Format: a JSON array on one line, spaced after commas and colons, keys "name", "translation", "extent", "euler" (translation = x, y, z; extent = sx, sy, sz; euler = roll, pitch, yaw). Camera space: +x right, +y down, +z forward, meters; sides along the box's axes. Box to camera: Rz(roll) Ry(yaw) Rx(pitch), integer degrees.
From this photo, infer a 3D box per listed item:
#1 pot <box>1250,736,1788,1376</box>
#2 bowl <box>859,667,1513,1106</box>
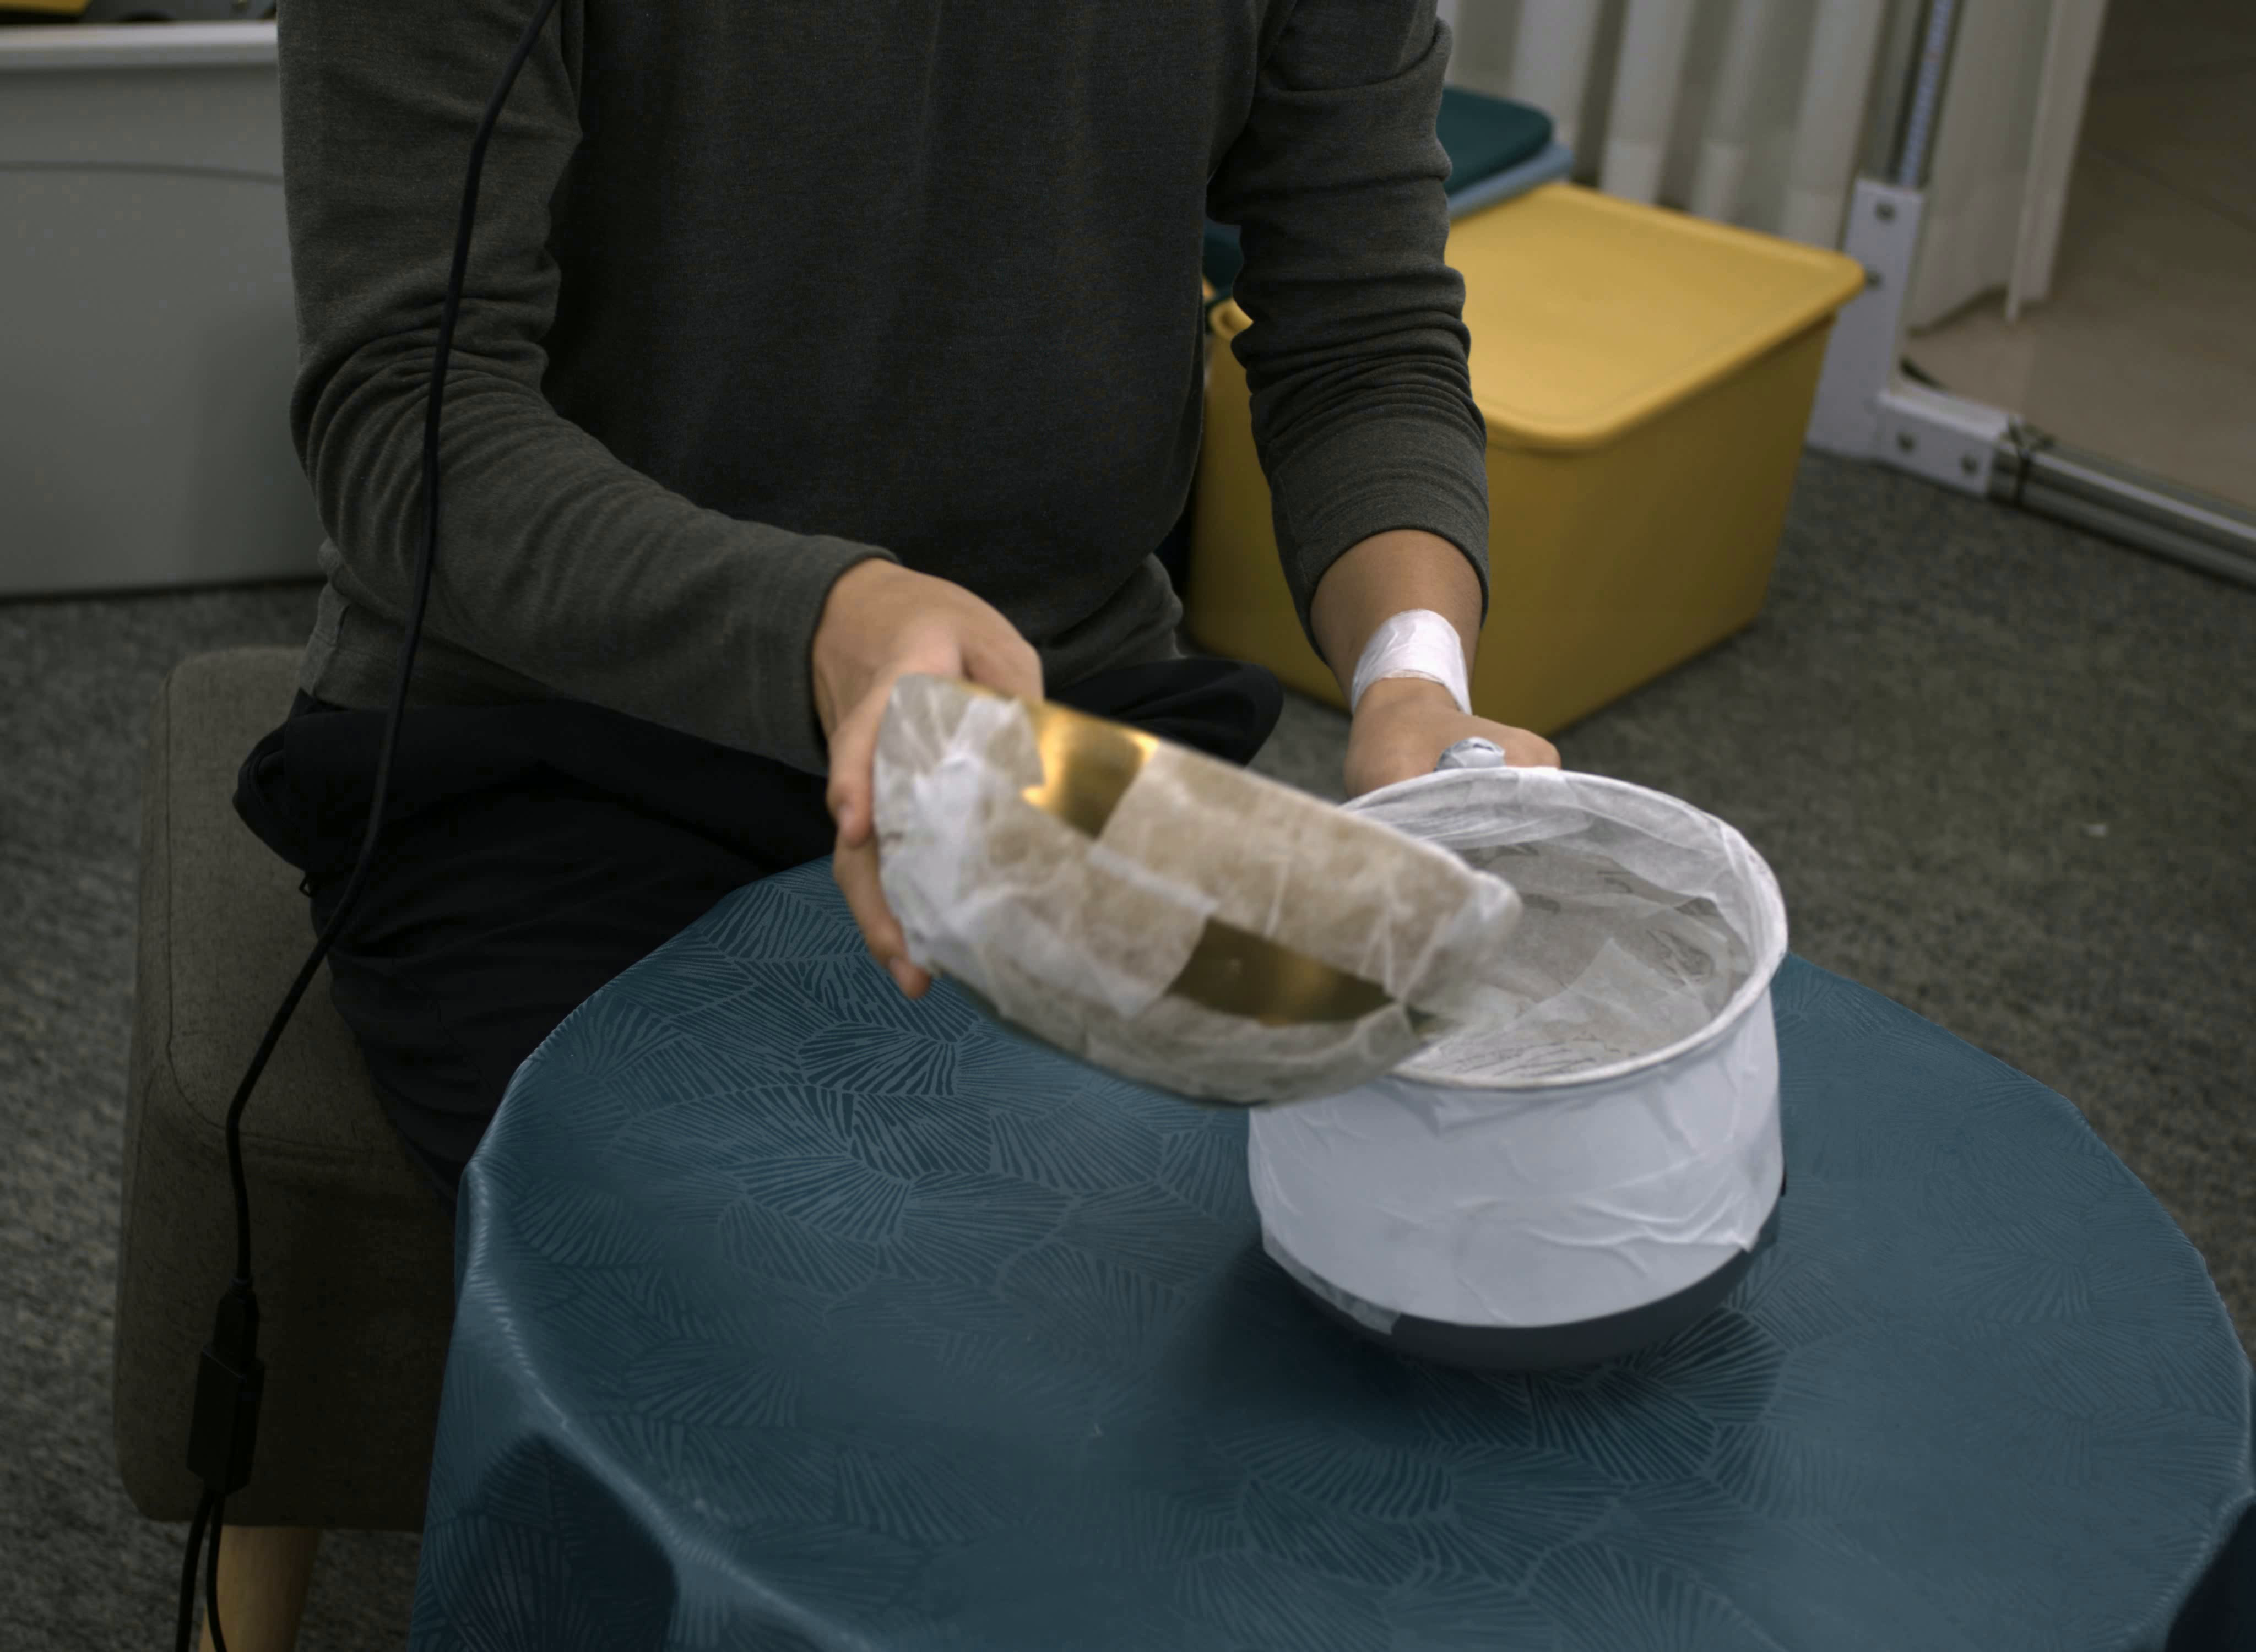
[{"name": "pot", "translation": [0.124, 0.067, 1.759], "extent": [0.178, 0.136, 0.235], "euler": [-5, 33, -2]}, {"name": "bowl", "translation": [0.005, 0.030, 1.591], "extent": [0.214, 0.095, 0.214], "euler": [18, -4, 1]}]
